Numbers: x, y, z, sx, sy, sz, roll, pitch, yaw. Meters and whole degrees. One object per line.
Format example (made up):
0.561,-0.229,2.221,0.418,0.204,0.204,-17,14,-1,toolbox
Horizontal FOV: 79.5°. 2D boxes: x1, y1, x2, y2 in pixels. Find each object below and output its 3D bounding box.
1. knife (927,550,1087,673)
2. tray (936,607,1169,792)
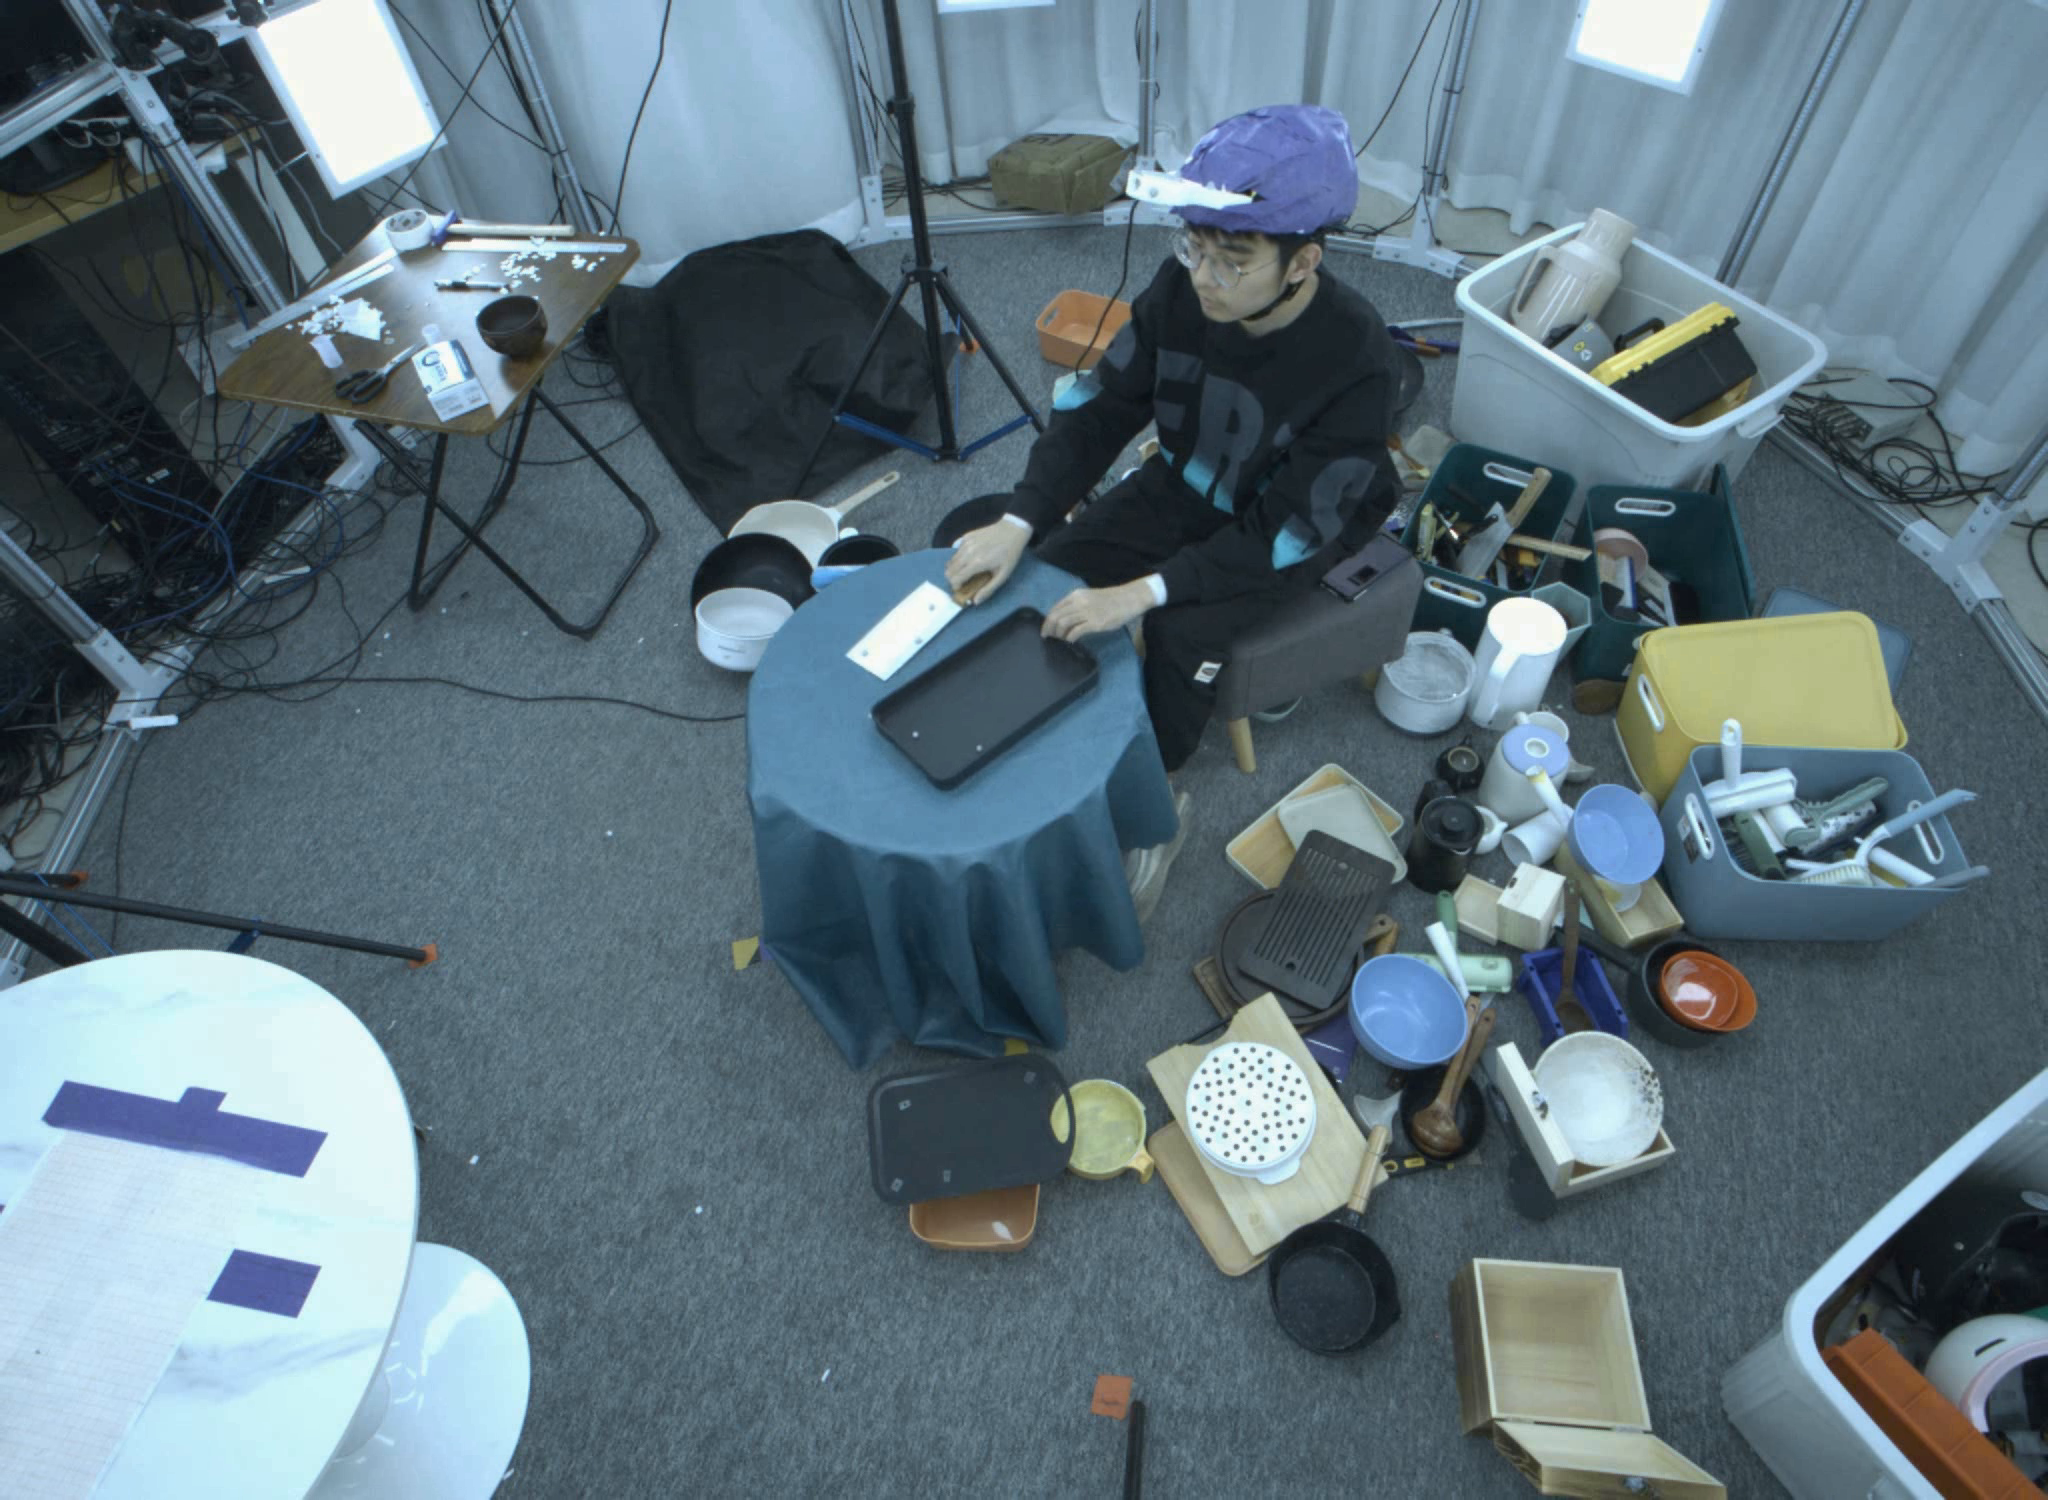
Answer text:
-0.030,-0.233,1.943,0.091,0.021,0.307,37,66,26,knife
0.044,-0.080,1.819,0.320,0.037,0.181,-34,60,-20,tray
